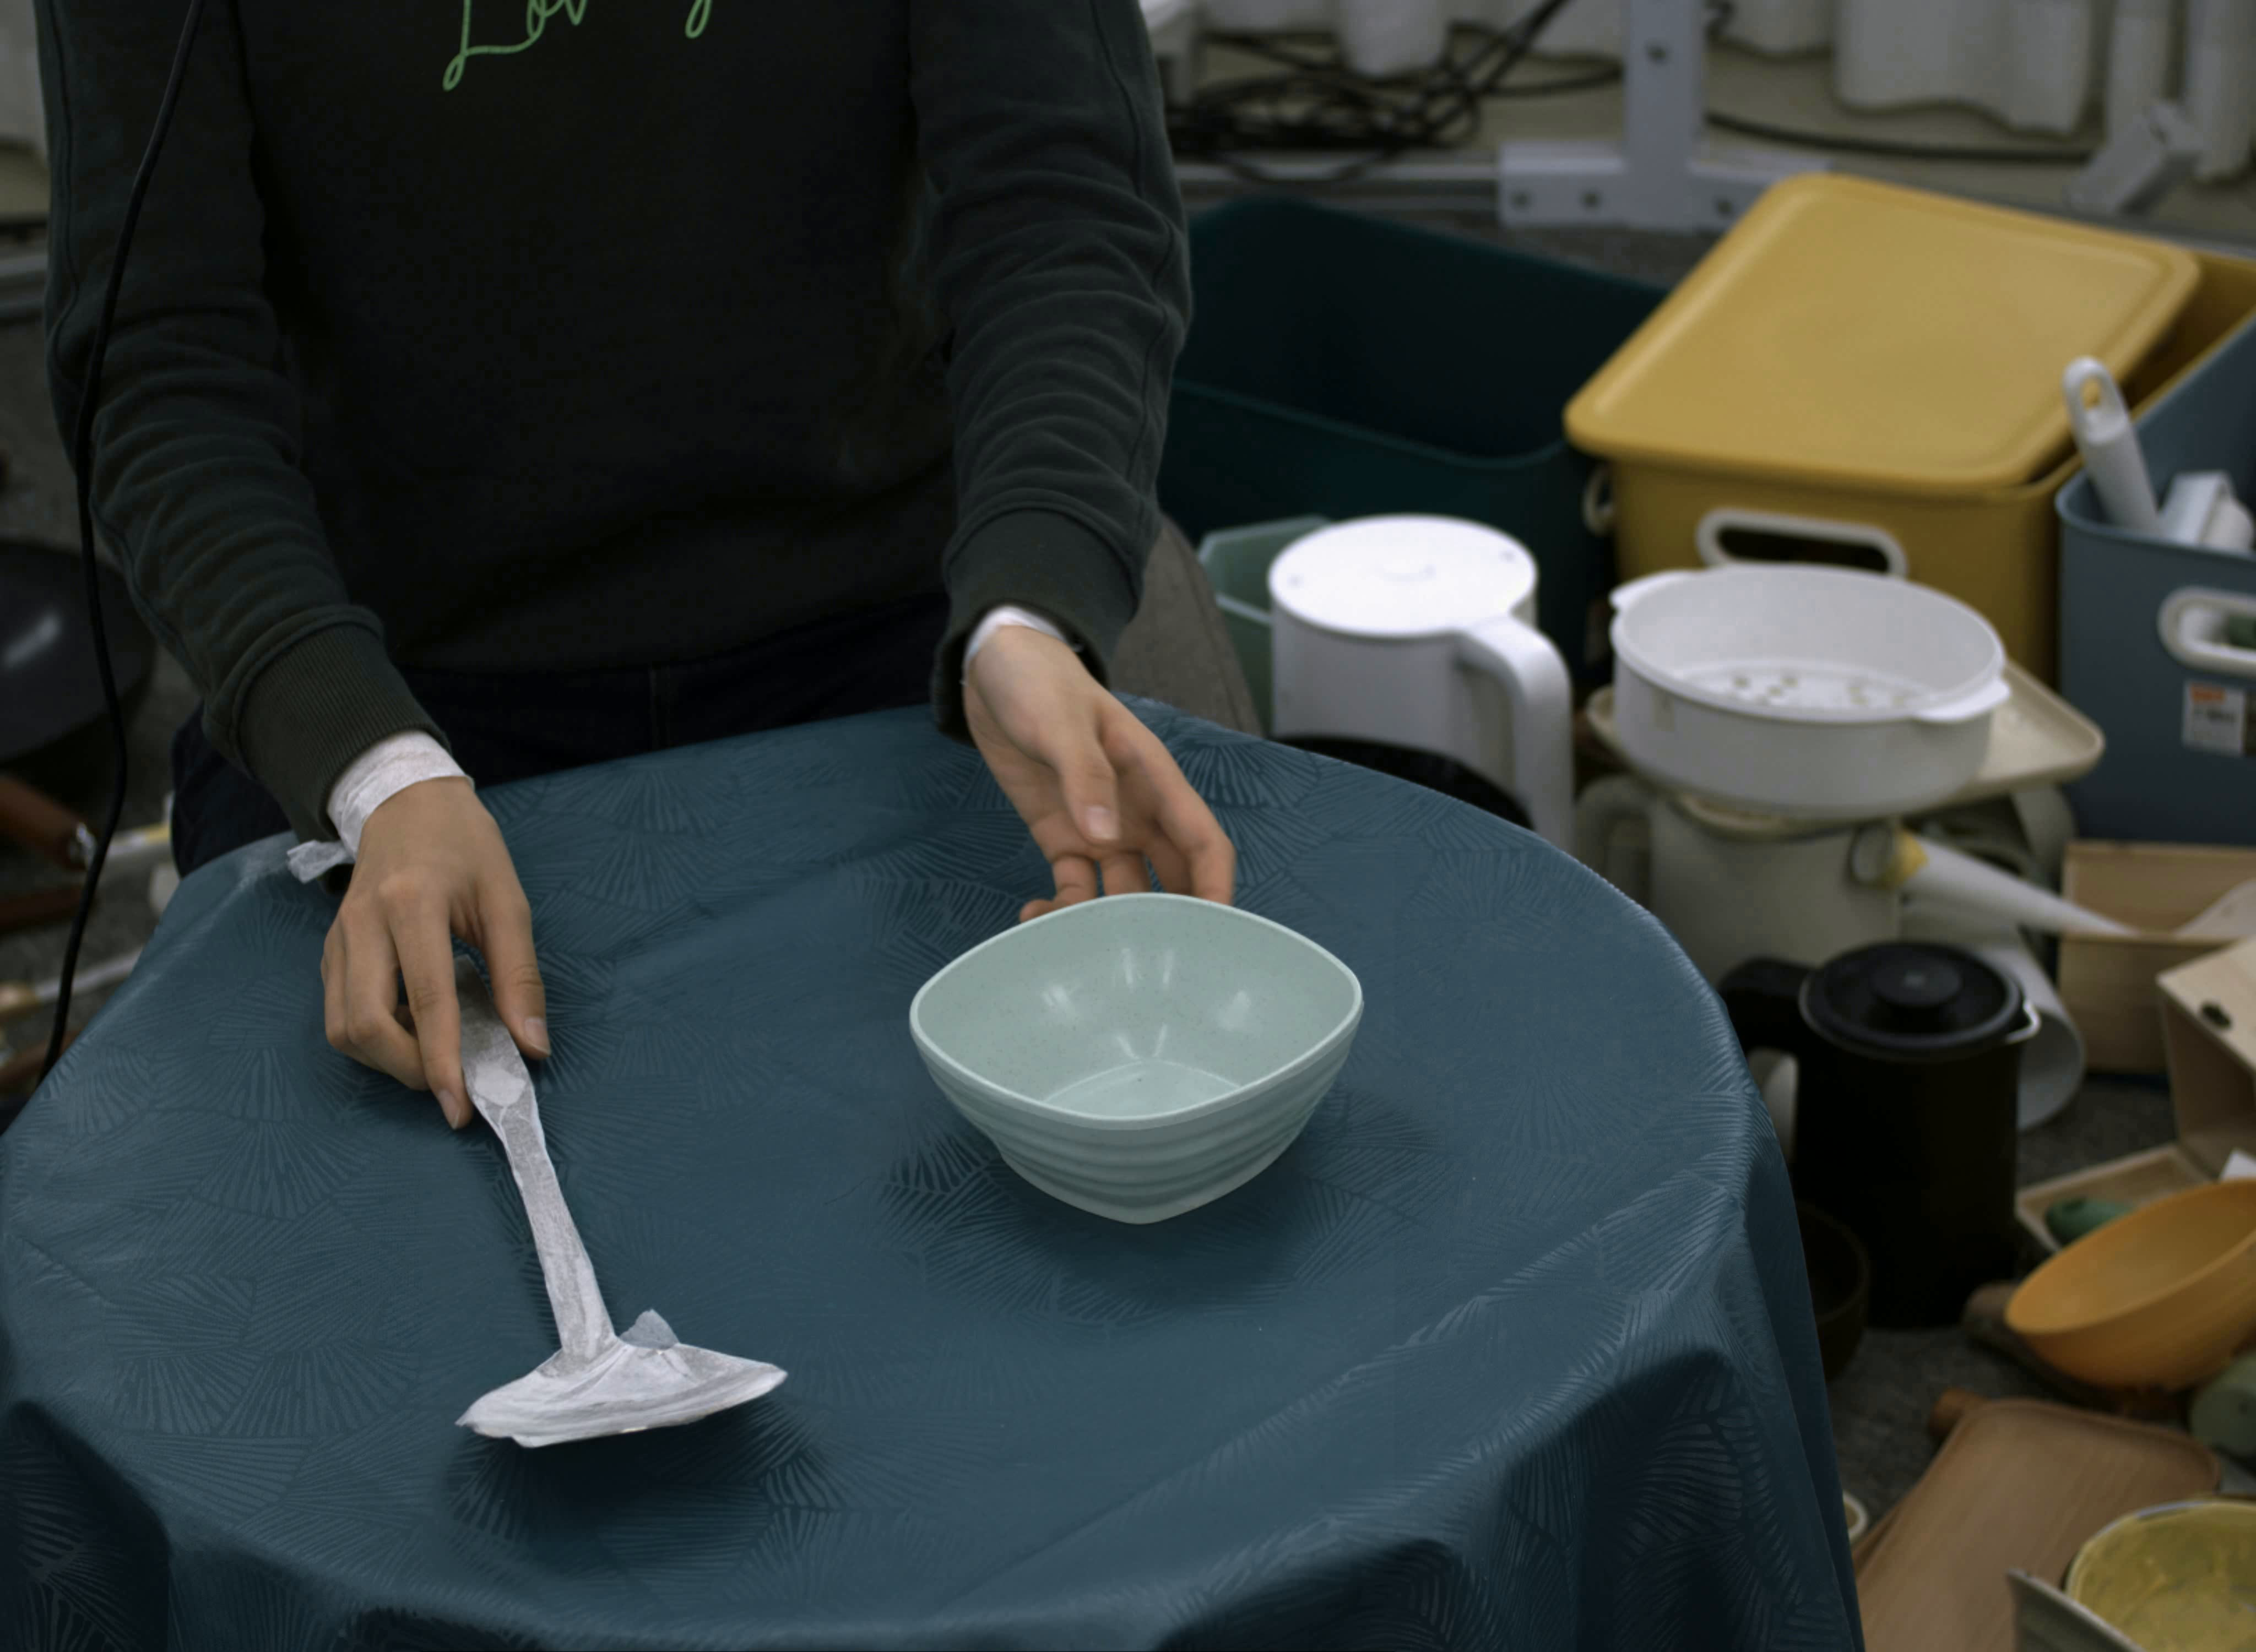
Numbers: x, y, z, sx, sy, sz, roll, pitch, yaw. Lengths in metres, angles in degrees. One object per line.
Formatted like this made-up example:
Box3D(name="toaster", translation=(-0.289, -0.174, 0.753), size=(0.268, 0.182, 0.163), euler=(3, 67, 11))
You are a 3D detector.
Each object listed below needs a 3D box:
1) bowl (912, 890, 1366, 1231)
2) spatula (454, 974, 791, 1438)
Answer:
Box3D(name="bowl", translation=(0.005, 0.084, 1.875), size=(0.151, 0.058, 0.154), euler=(-1, 29, 1))
Box3D(name="spatula", translation=(-0.189, 0.117, 1.847), size=(0.099, 0.044, 0.369), euler=(-10, 28, -12))
